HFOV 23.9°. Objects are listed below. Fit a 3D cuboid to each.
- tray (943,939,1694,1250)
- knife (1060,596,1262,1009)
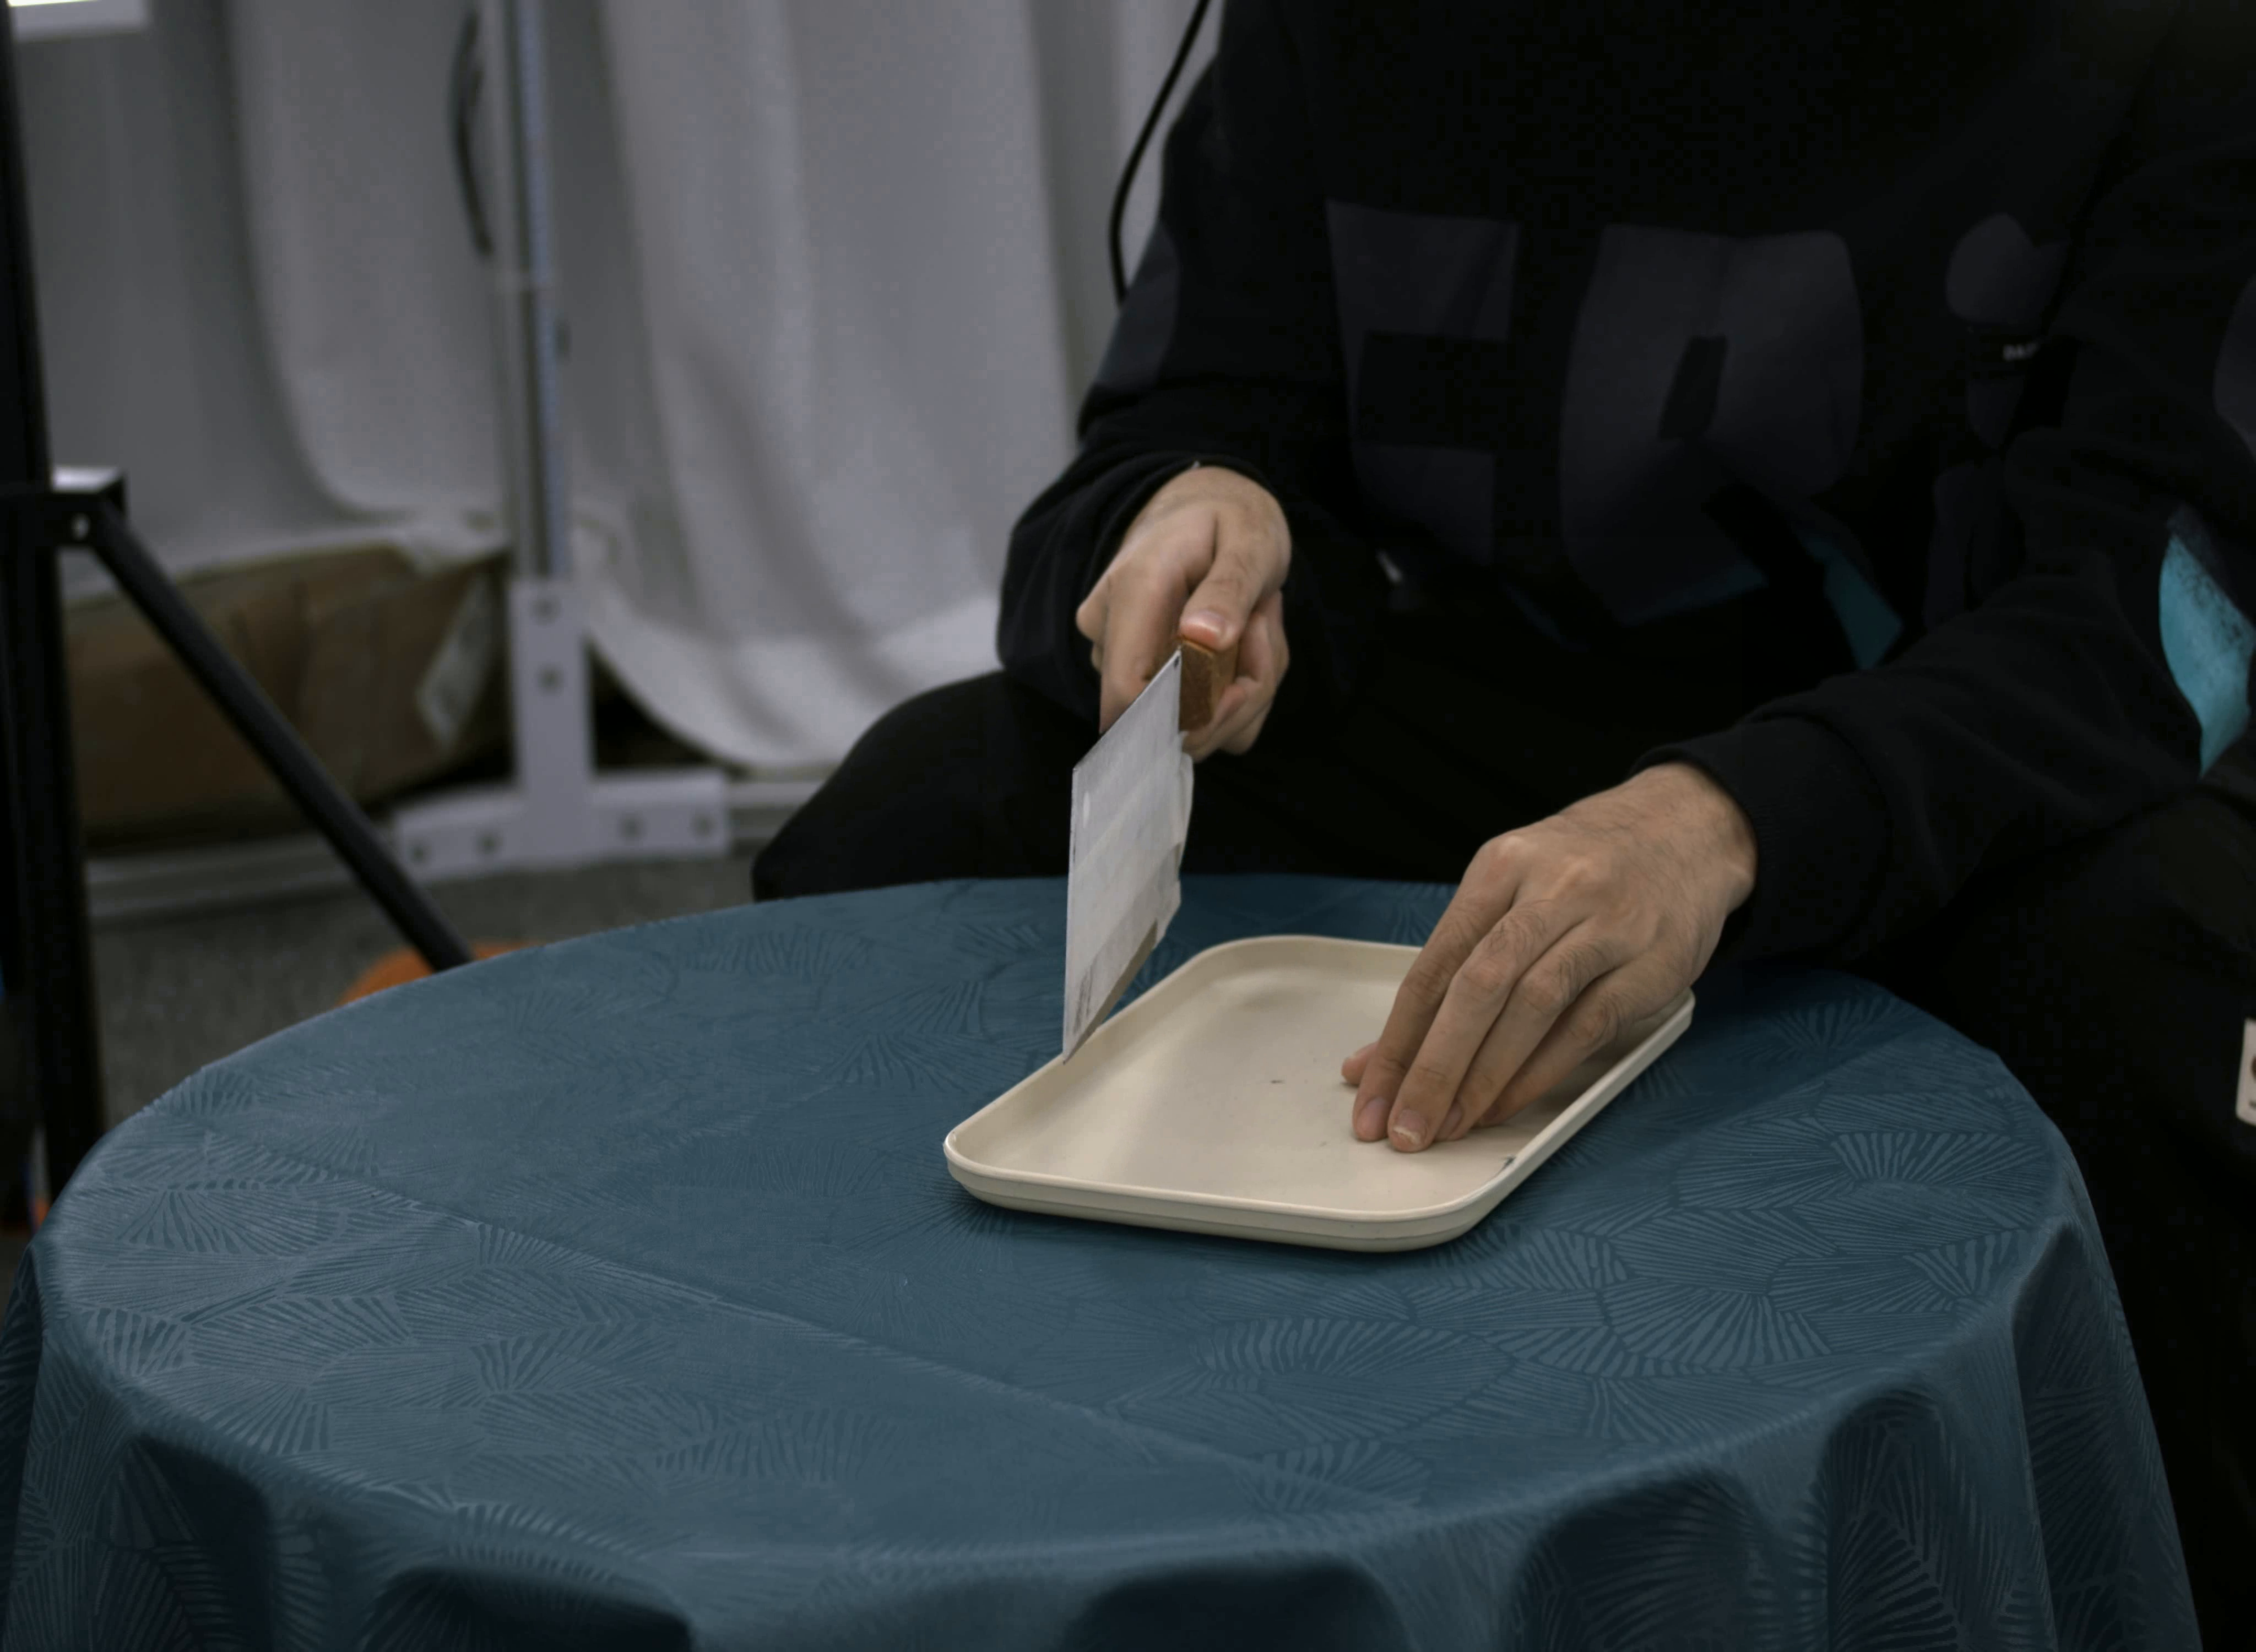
[{"bbox_3d":[0.062,0.080,1.610,0.174,0.017,0.236,4,17,26],"label":"tray"},{"bbox_3d":[0.009,-0.008,1.671,0.021,0.093,0.304,5,13,9],"label":"knife"}]
